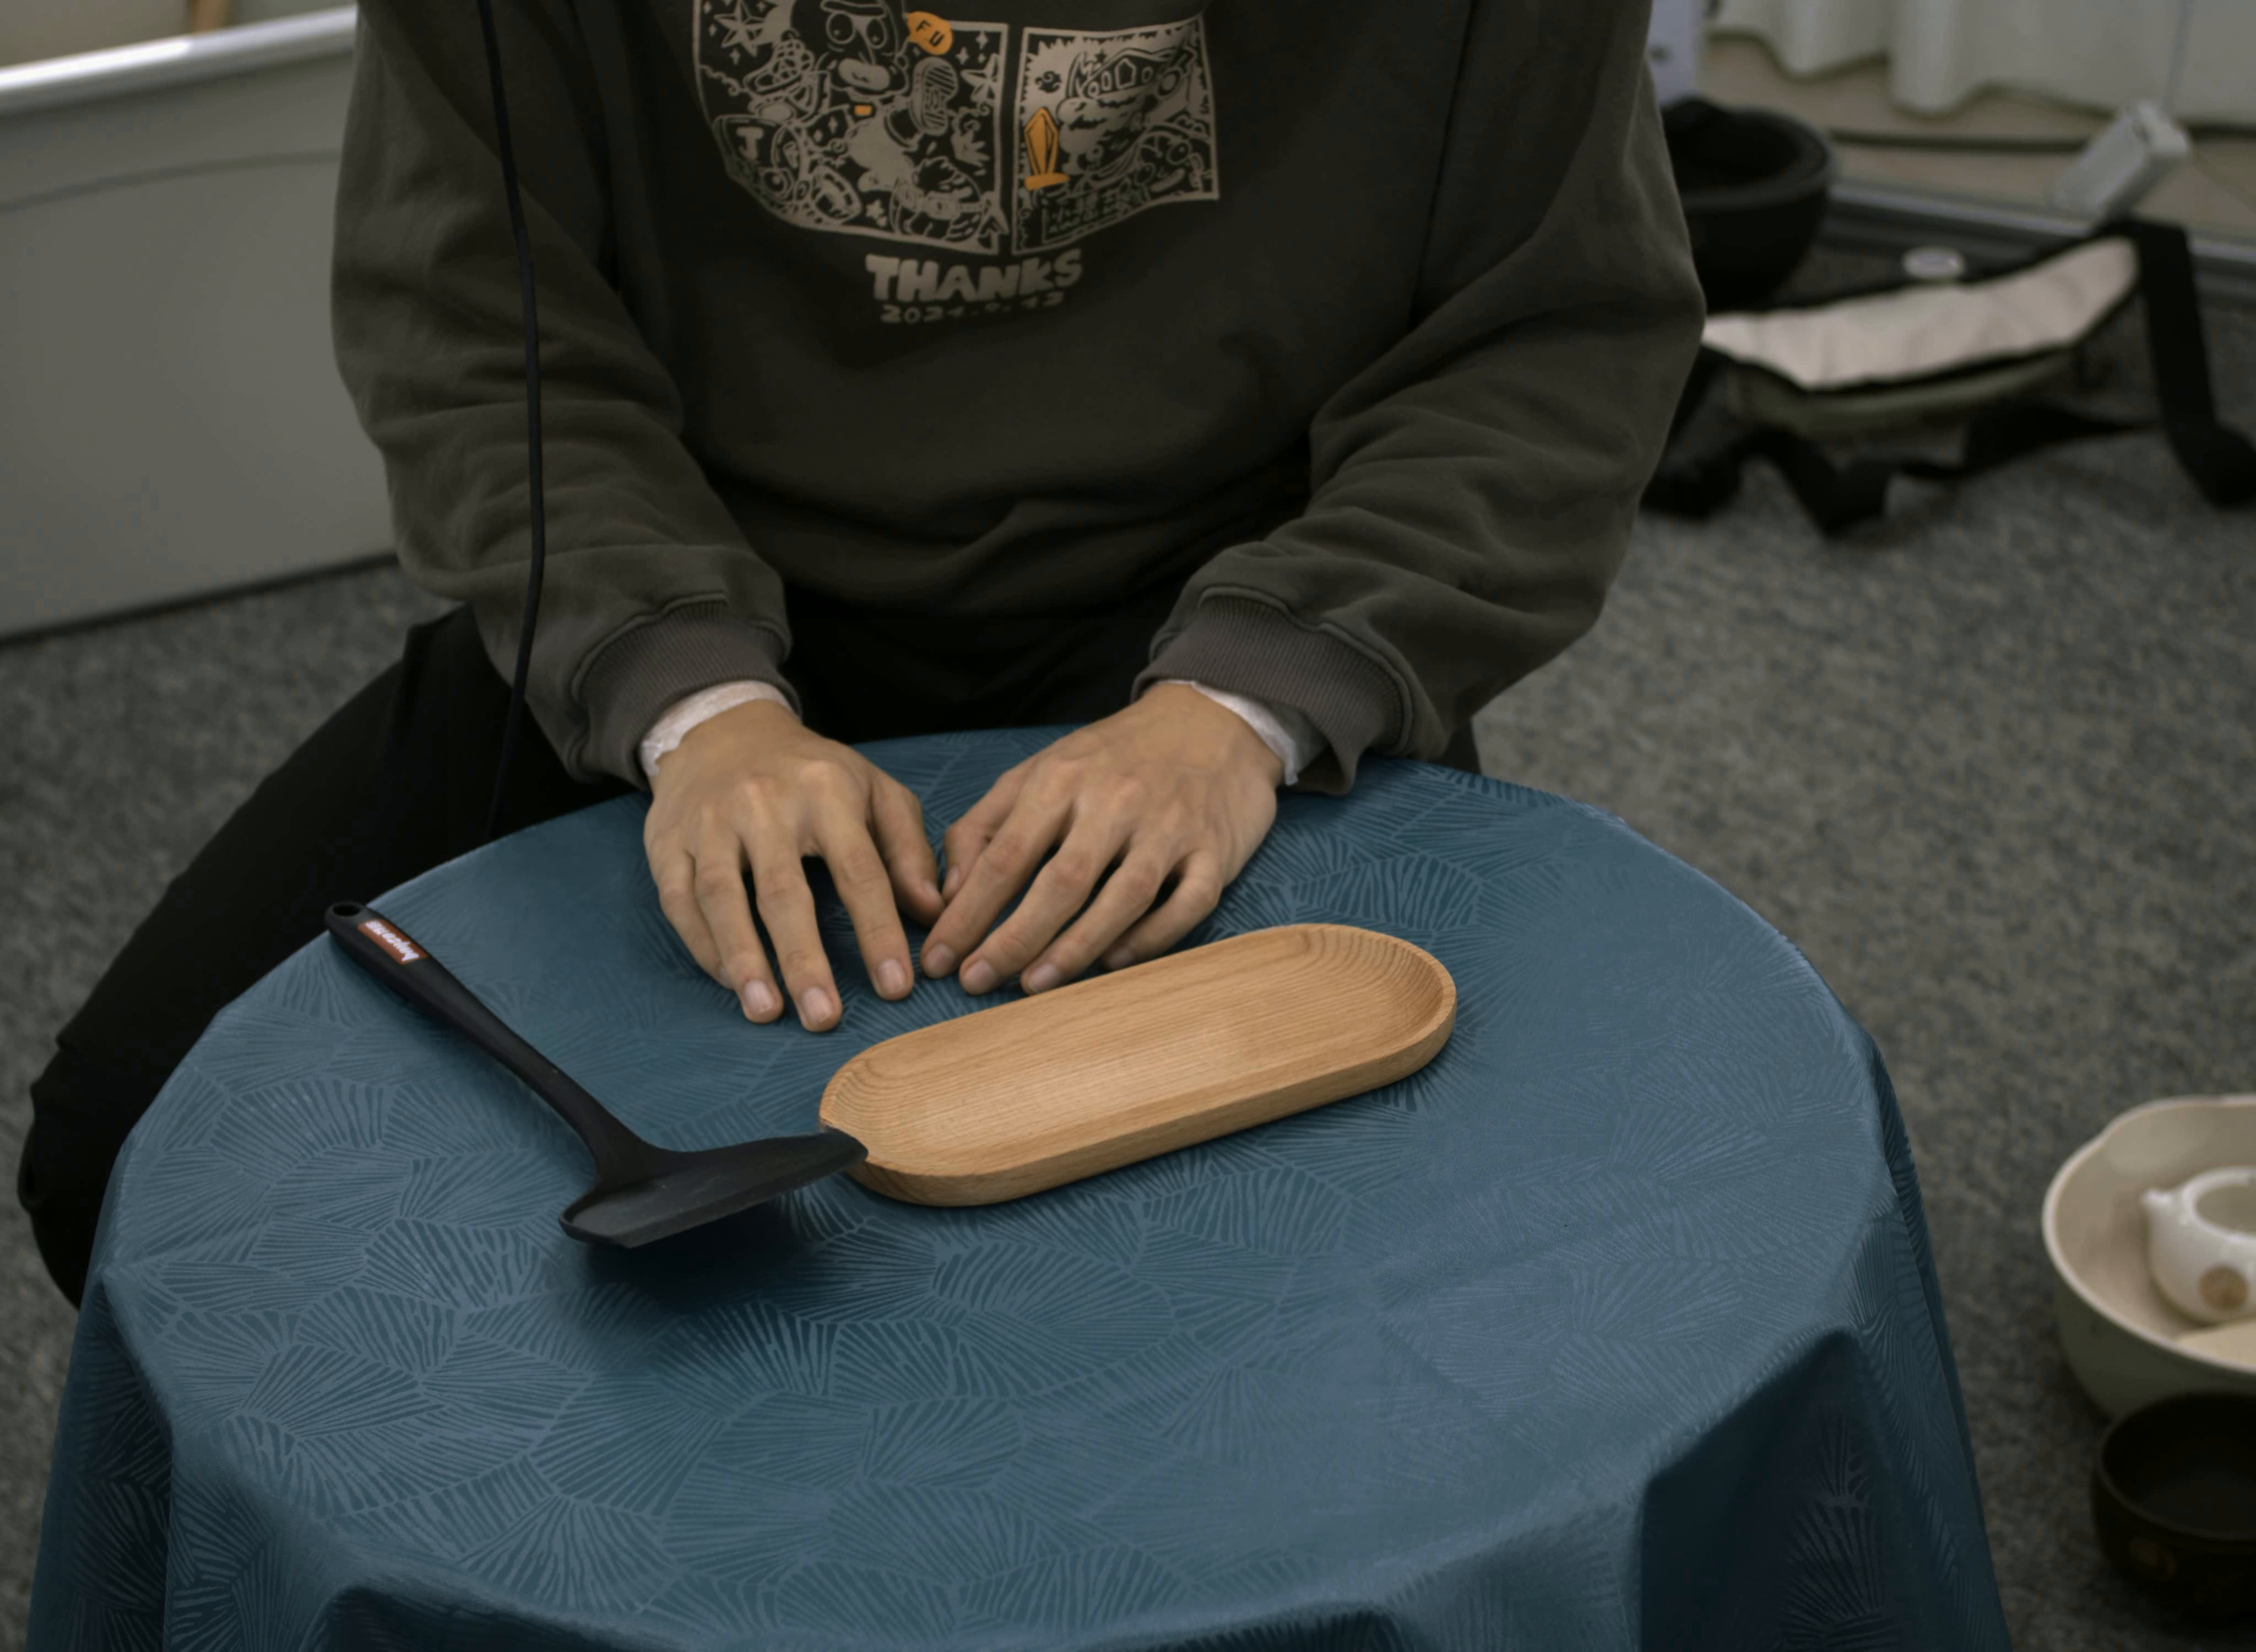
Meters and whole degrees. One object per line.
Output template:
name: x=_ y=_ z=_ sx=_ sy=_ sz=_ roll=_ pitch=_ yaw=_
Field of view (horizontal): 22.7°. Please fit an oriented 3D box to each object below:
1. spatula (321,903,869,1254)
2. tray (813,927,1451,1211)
spatula: x=-0.205 y=0.079 z=1.924 sx=0.100 sy=0.040 sz=0.327 roll=-17 pitch=31 yaw=-28
tray: x=0.003 y=0.083 z=1.918 sx=0.232 sy=0.020 sz=0.102 roll=-17 pitch=30 yaw=-22
